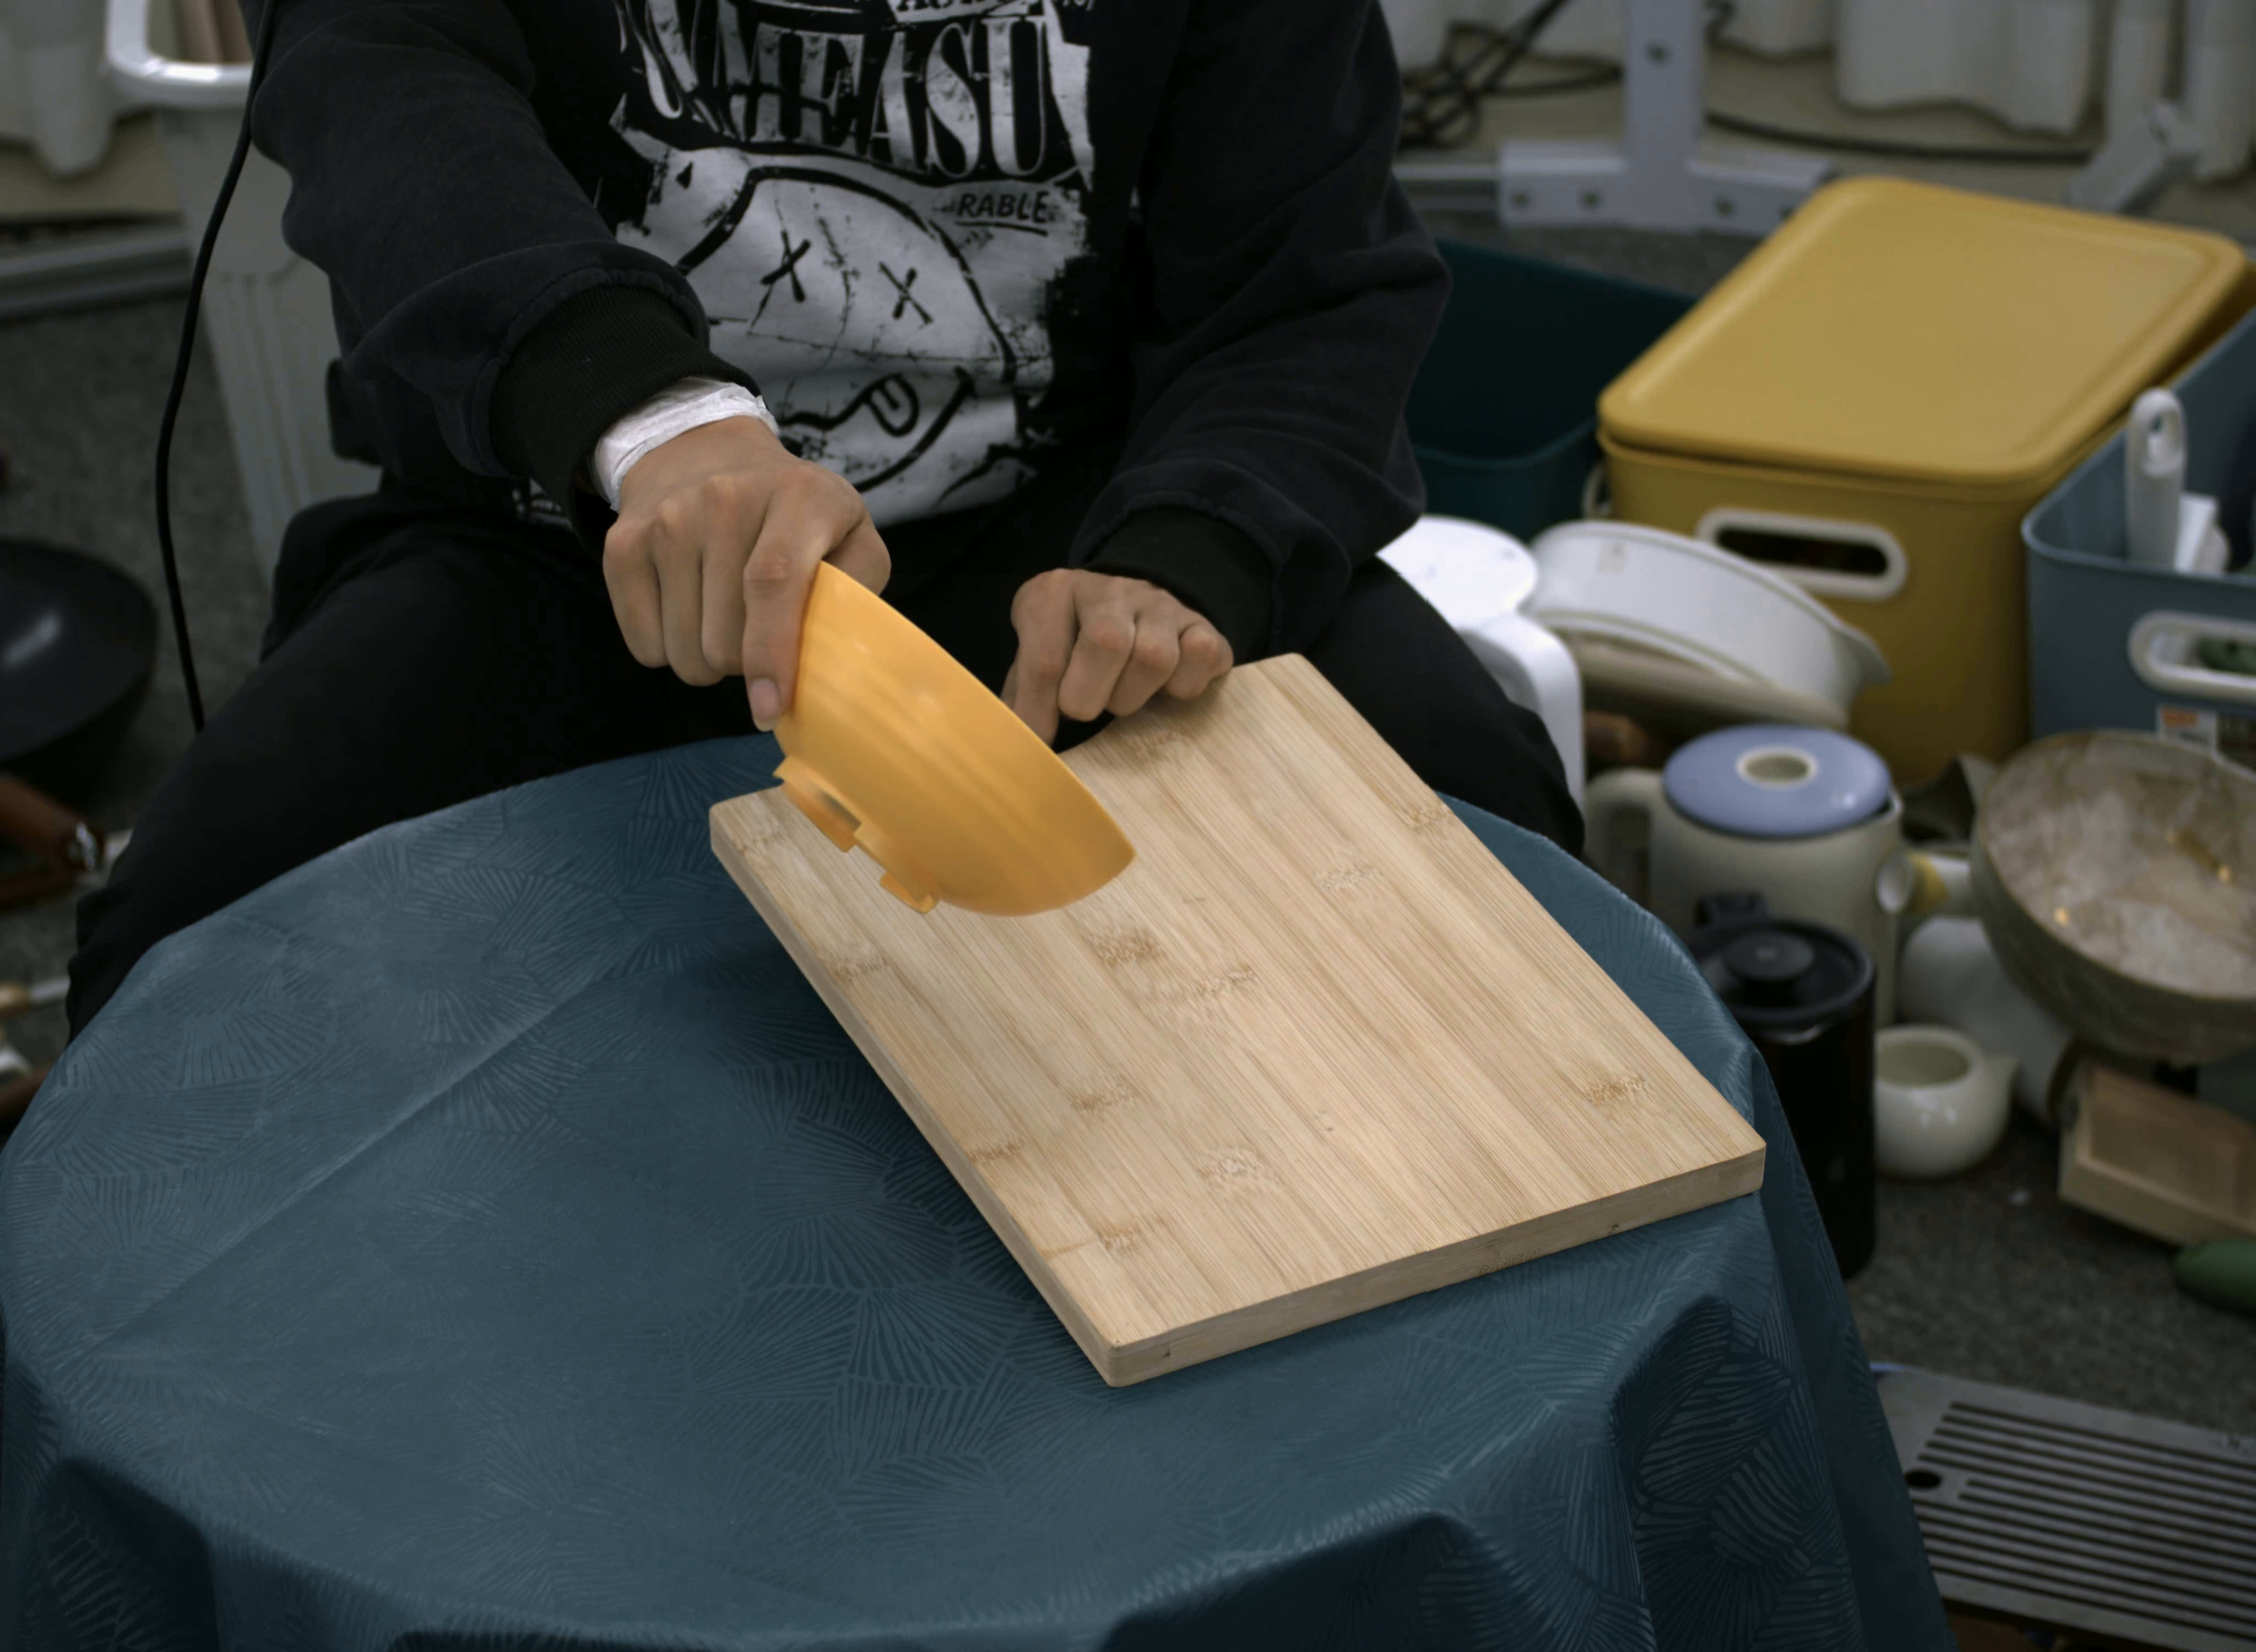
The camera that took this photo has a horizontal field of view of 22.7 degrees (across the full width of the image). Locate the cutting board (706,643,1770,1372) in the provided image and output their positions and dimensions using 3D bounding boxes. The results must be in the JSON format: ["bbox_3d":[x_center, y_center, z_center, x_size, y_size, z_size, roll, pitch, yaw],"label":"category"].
[{"bbox_3d":[0.029,0.054,1.930,0.252,0.023,0.351,-15,36,-22],"label":"cutting board"}]

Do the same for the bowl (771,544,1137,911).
[{"bbox_3d":[-0.068,-0.018,1.787,0.060,0.144,0.146,-46,40,-8],"label":"bowl"}]
